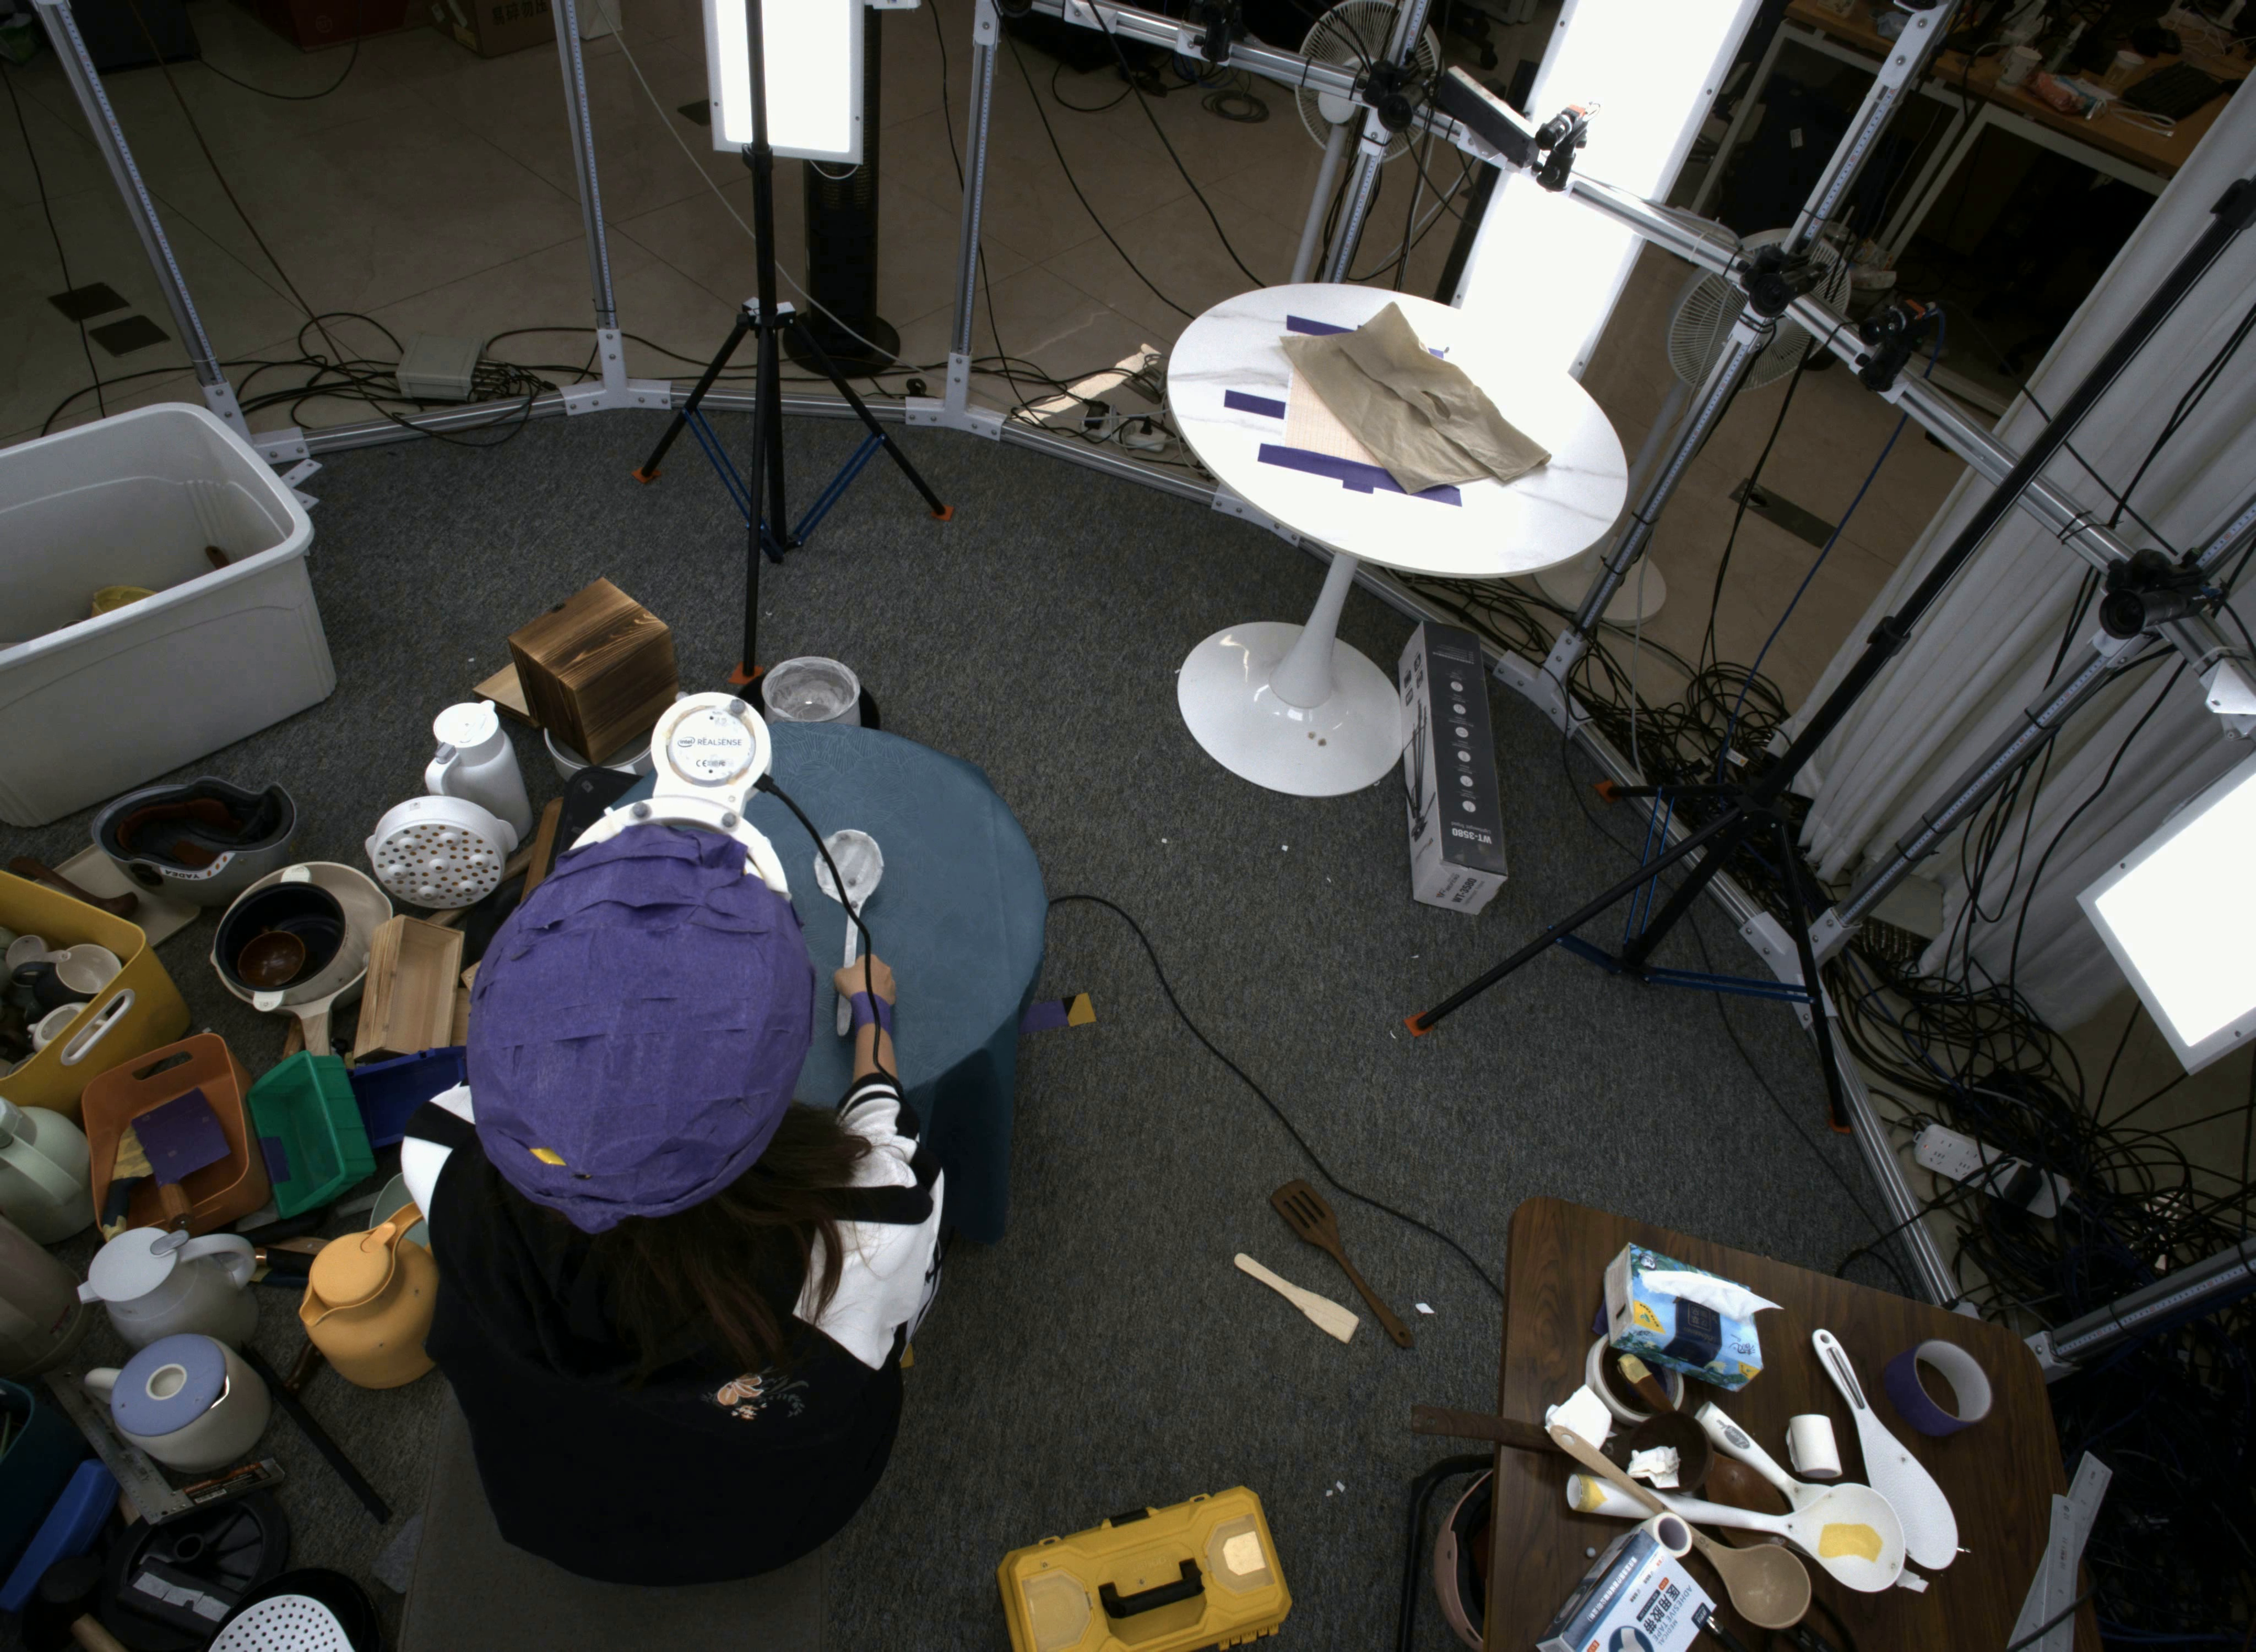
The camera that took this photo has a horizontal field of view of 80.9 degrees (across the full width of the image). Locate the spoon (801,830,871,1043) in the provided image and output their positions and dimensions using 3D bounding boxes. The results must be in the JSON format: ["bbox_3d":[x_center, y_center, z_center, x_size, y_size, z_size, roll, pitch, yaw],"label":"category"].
[{"bbox_3d":[-0.369,0.131,1.596,0.099,0.062,0.272,-17,51,19],"label":"spoon"}]

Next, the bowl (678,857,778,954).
[{"bbox_3d":[-0.487,0.102,1.578,0.118,0.071,0.116,7,52,-8],"label":"bowl"}]
